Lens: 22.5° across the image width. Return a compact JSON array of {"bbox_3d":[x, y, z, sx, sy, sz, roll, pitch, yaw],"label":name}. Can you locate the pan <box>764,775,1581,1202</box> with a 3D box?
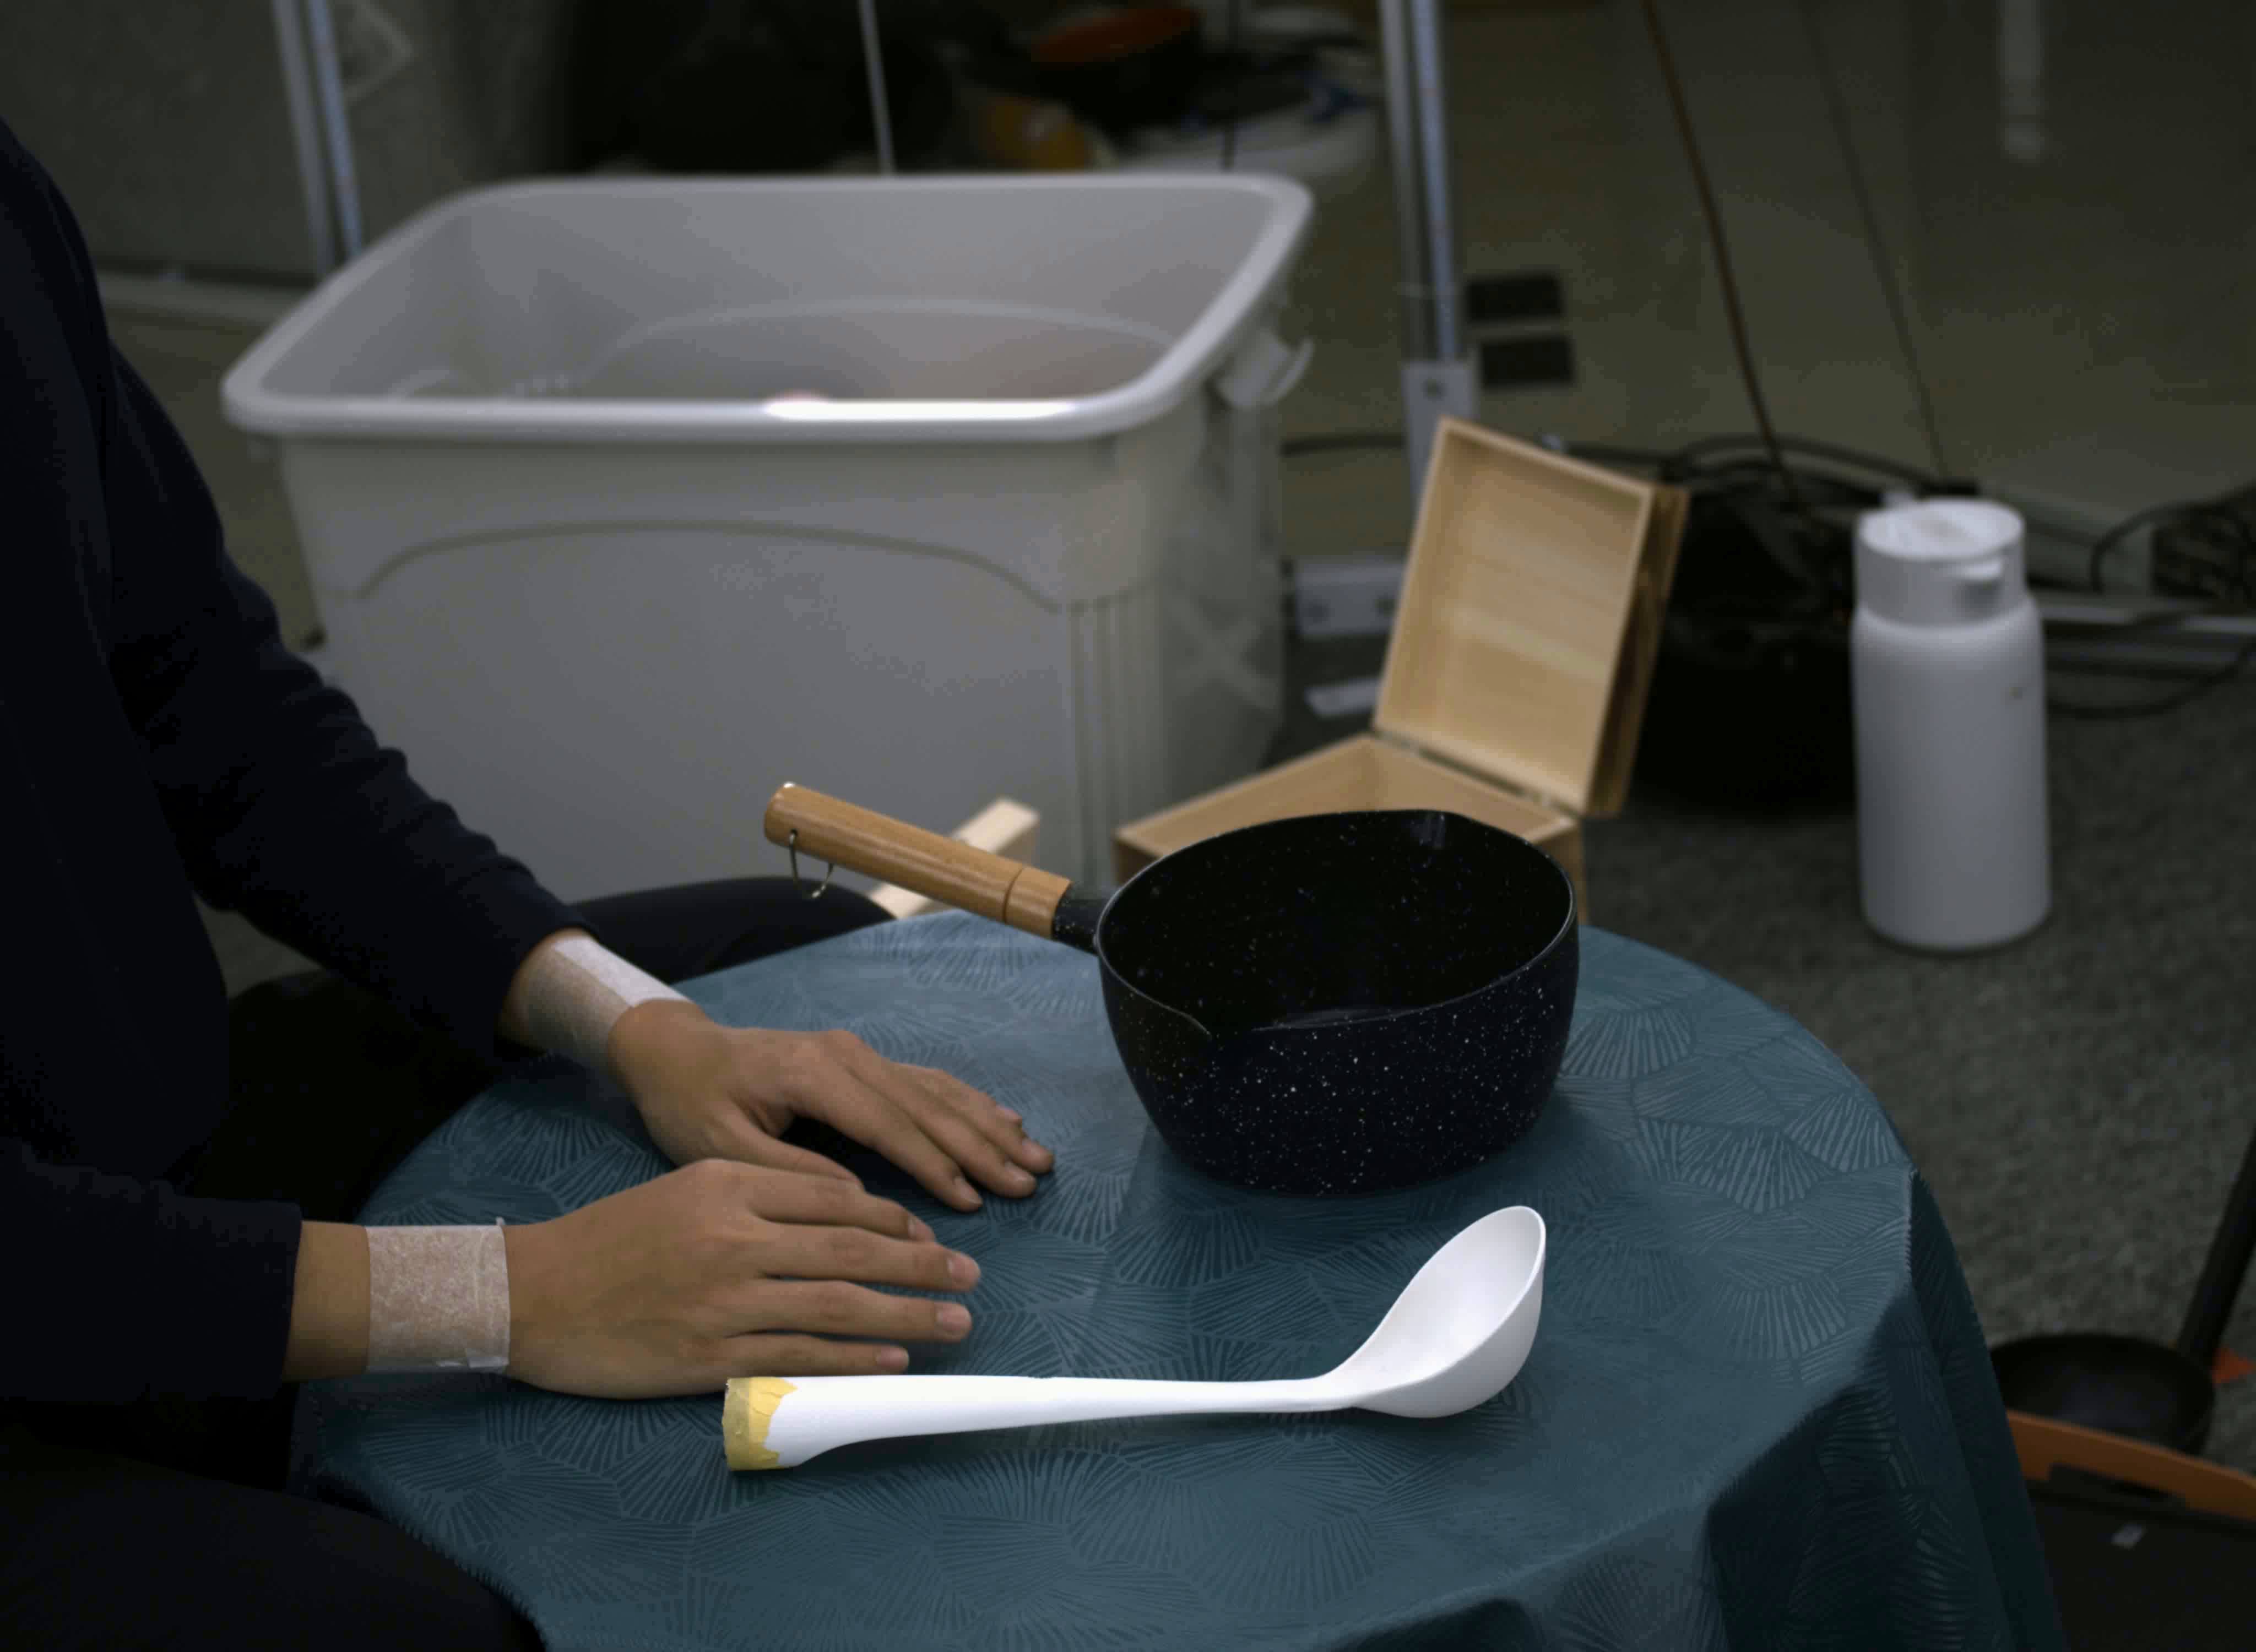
[{"bbox_3d":[0.011,0.052,2.201,0.341,0.110,0.205,8,30,25],"label":"pan"}]

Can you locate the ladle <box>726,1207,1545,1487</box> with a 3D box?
[{"bbox_3d":[0.002,0.186,1.969,0.292,0.071,0.088,-5,31,4],"label":"ladle"}]
